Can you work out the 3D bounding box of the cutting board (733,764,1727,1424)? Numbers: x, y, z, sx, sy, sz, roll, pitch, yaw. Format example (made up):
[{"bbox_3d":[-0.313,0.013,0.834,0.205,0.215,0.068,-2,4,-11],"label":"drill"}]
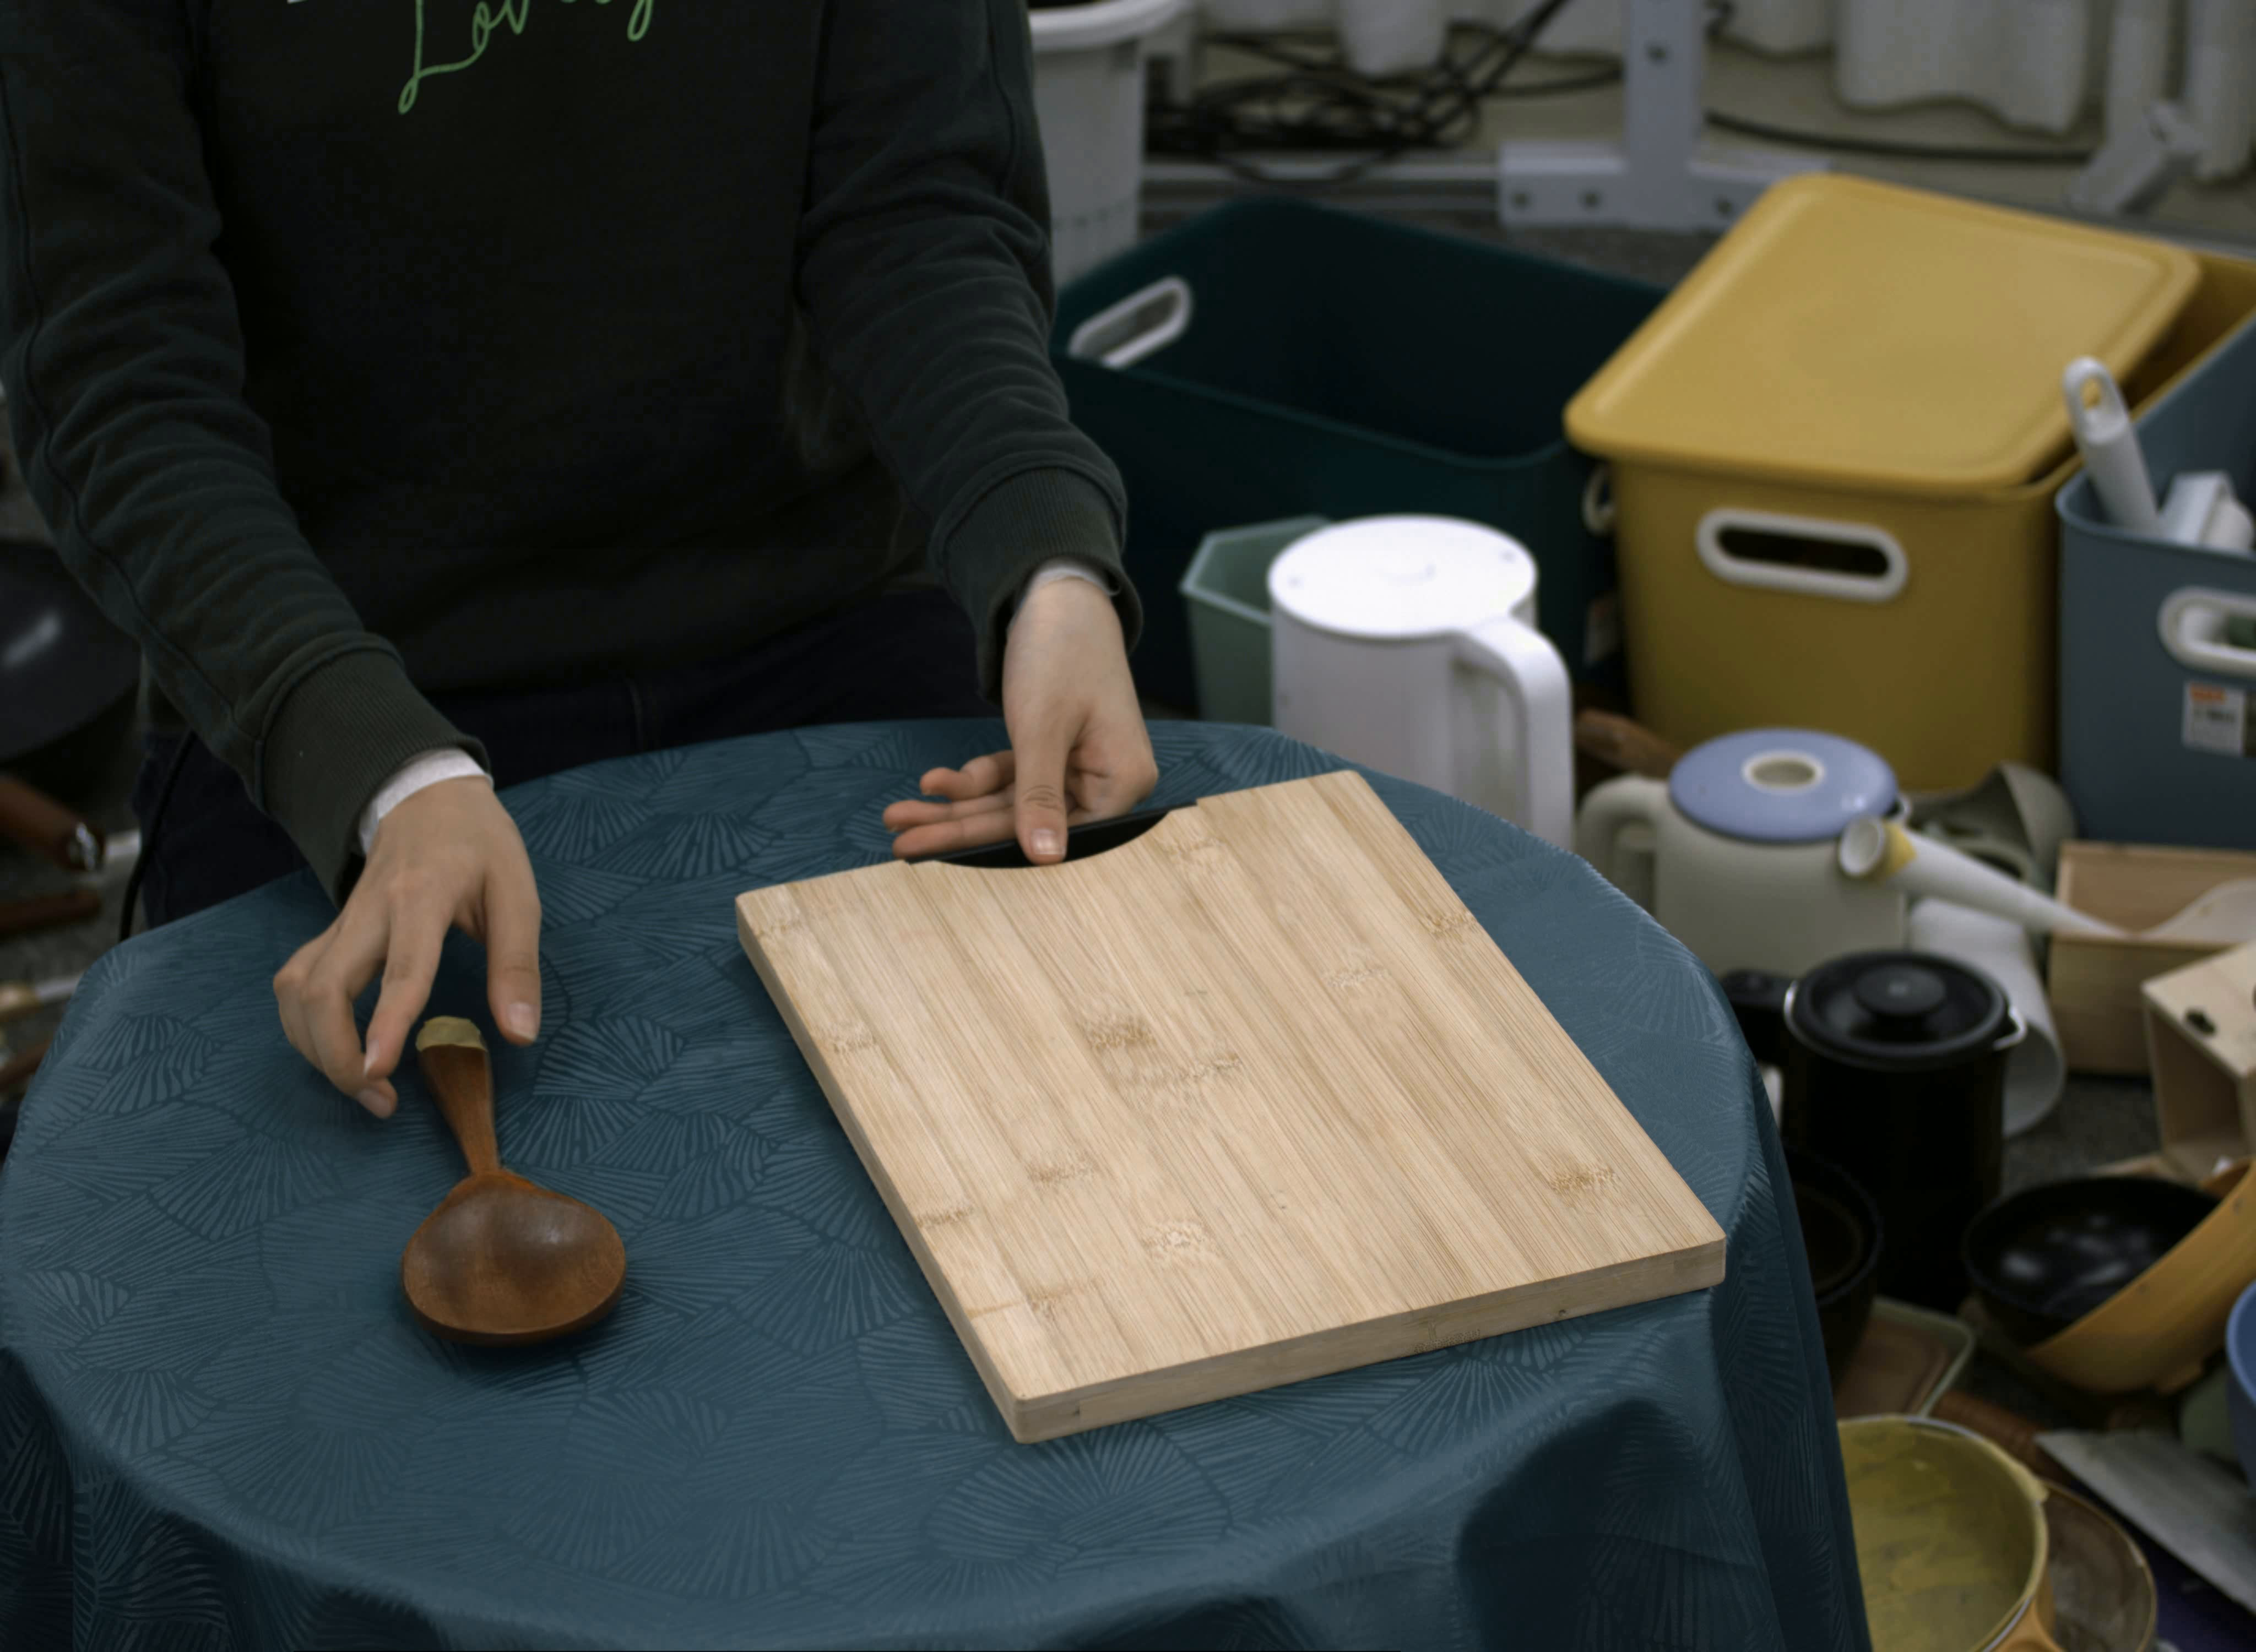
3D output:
[{"bbox_3d":[0.024,0.083,1.908,0.251,0.023,0.352,-11,29,-16],"label":"cutting board"}]

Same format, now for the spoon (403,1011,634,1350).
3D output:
[{"bbox_3d":[-0.212,0.119,1.869,0.075,0.017,0.218,-10,29,-10],"label":"spoon"}]
